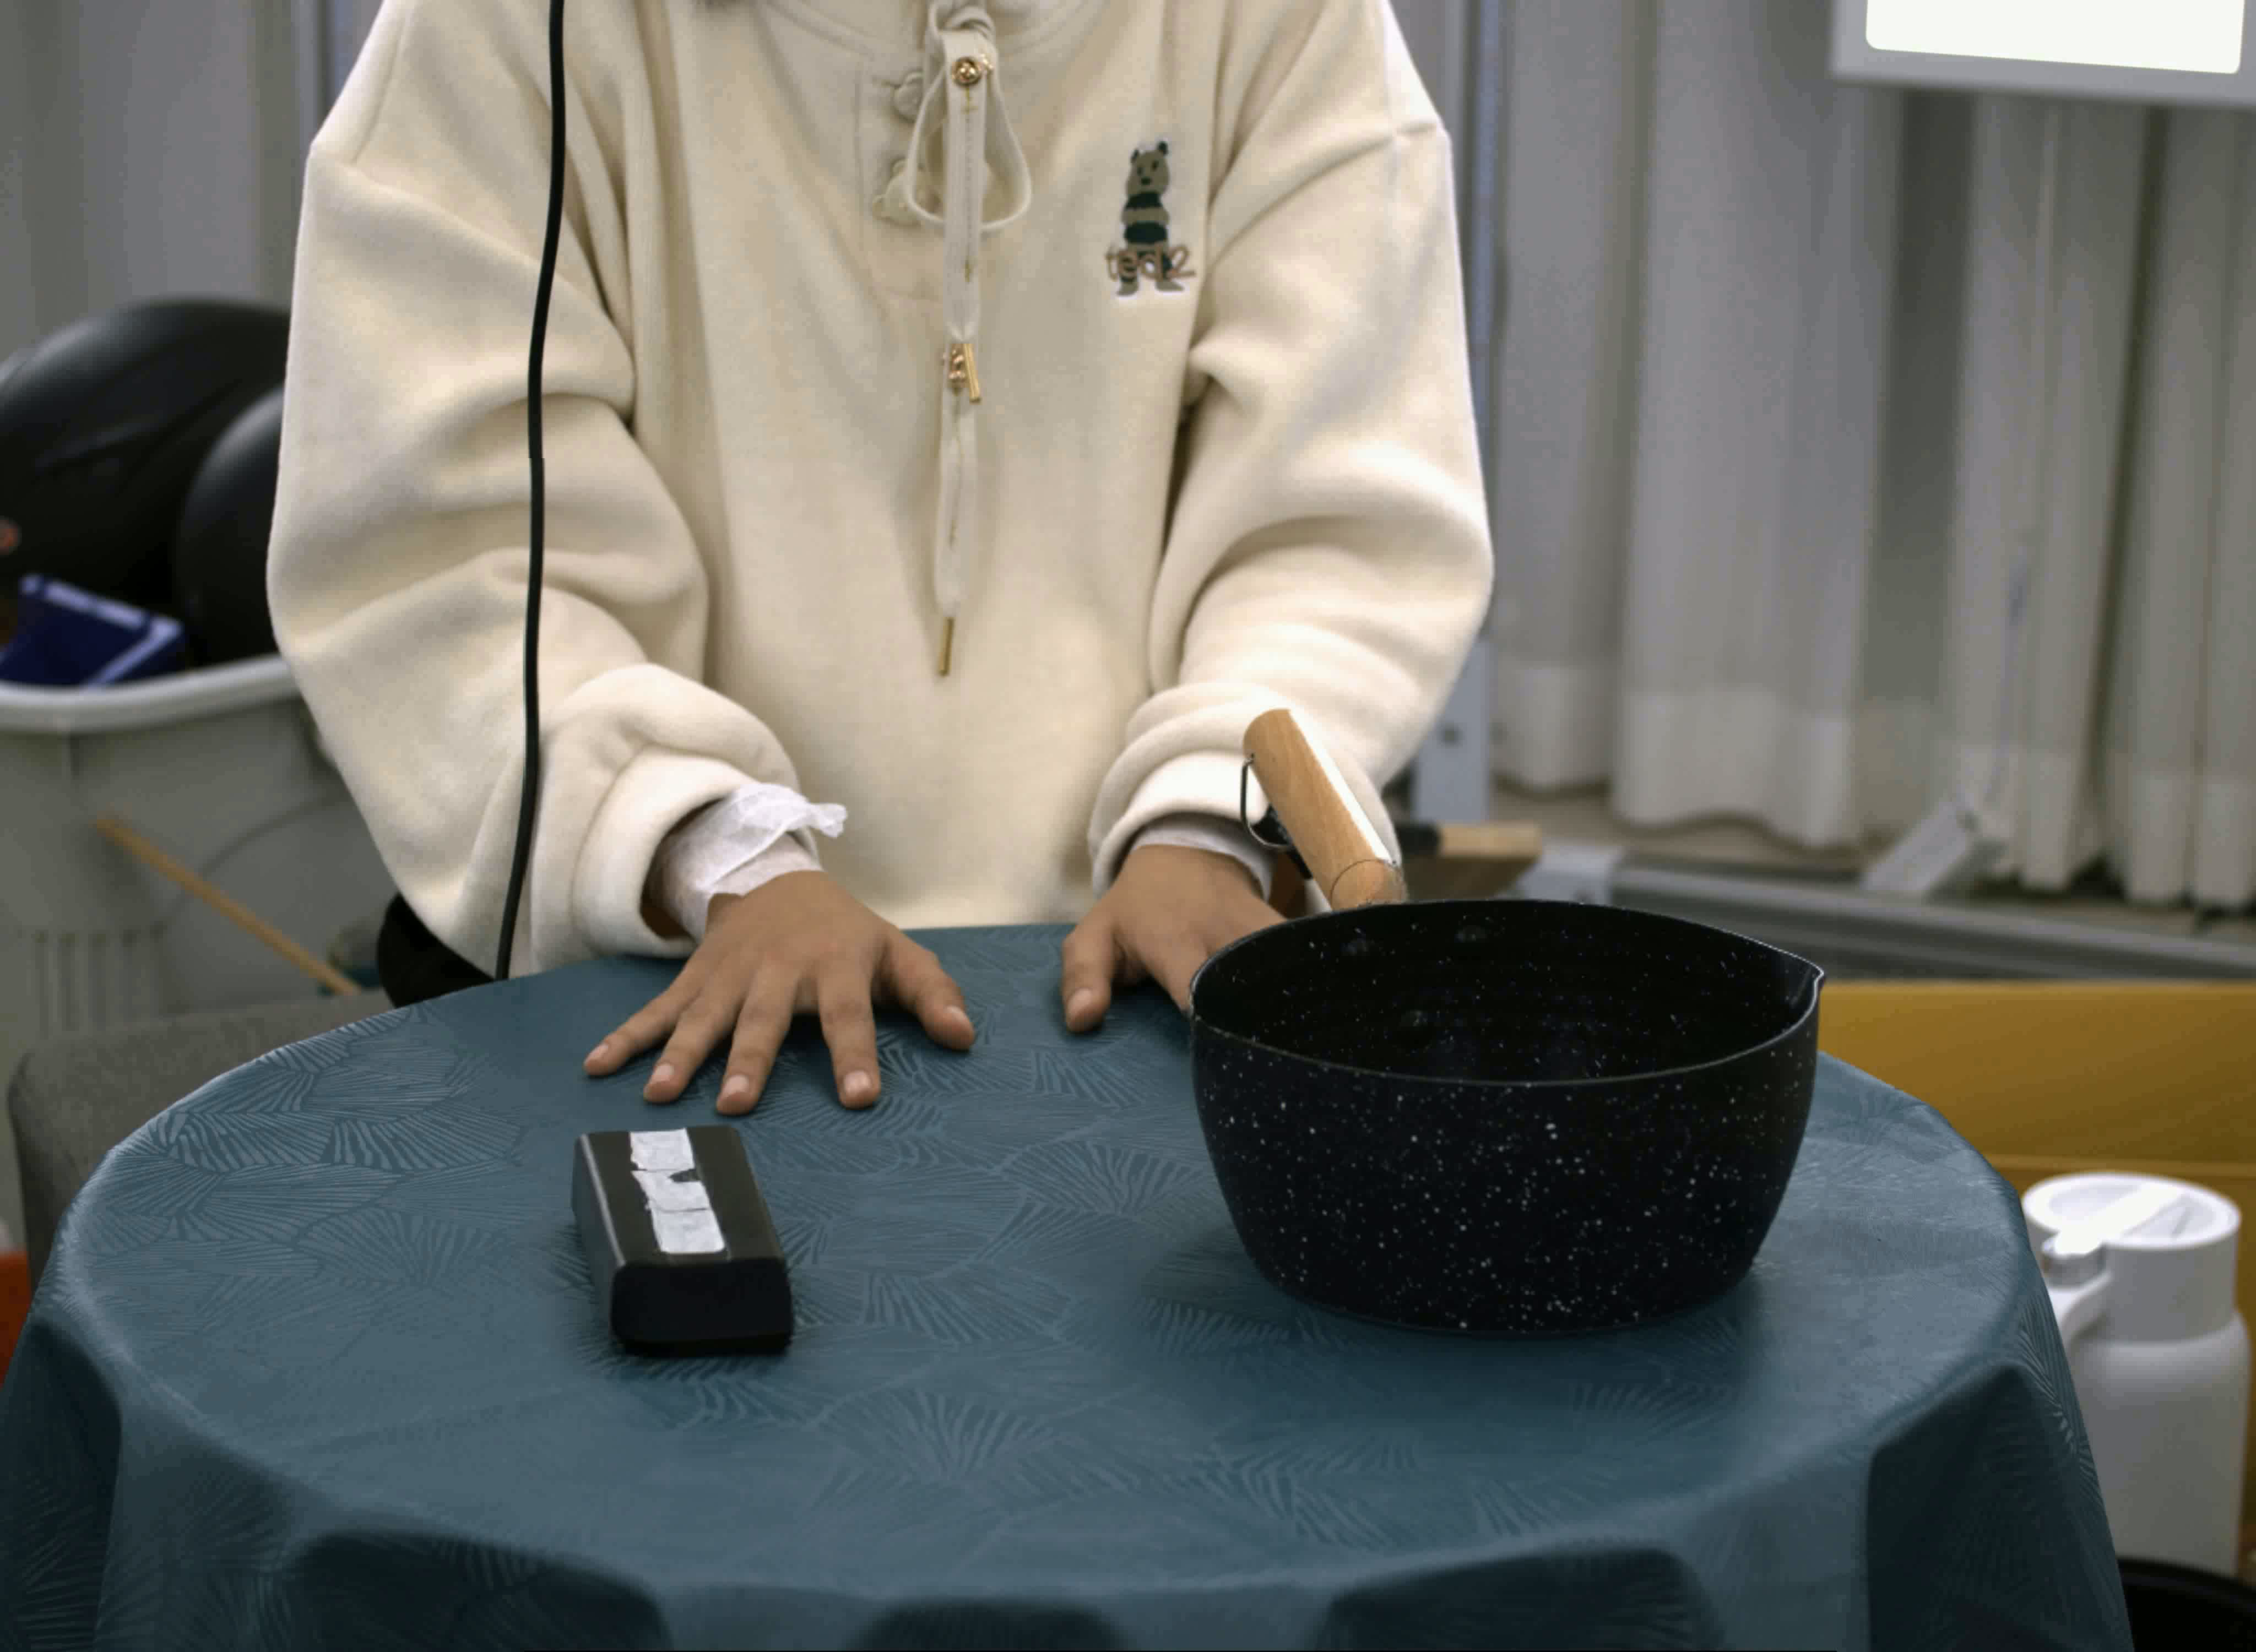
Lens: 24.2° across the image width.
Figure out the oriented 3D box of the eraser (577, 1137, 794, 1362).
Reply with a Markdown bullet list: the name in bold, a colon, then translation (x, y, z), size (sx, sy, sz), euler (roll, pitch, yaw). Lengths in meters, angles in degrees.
- **eraser**: translation (-0.129, 0.122, 1.532), size (0.053, 0.031, 0.124), euler (-2, 14, -10)

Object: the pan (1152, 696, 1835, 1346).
- **pan**: translation (0.090, 0.055, 1.627), size (0.208, 0.109, 0.339), euler (-5, 18, -15)
